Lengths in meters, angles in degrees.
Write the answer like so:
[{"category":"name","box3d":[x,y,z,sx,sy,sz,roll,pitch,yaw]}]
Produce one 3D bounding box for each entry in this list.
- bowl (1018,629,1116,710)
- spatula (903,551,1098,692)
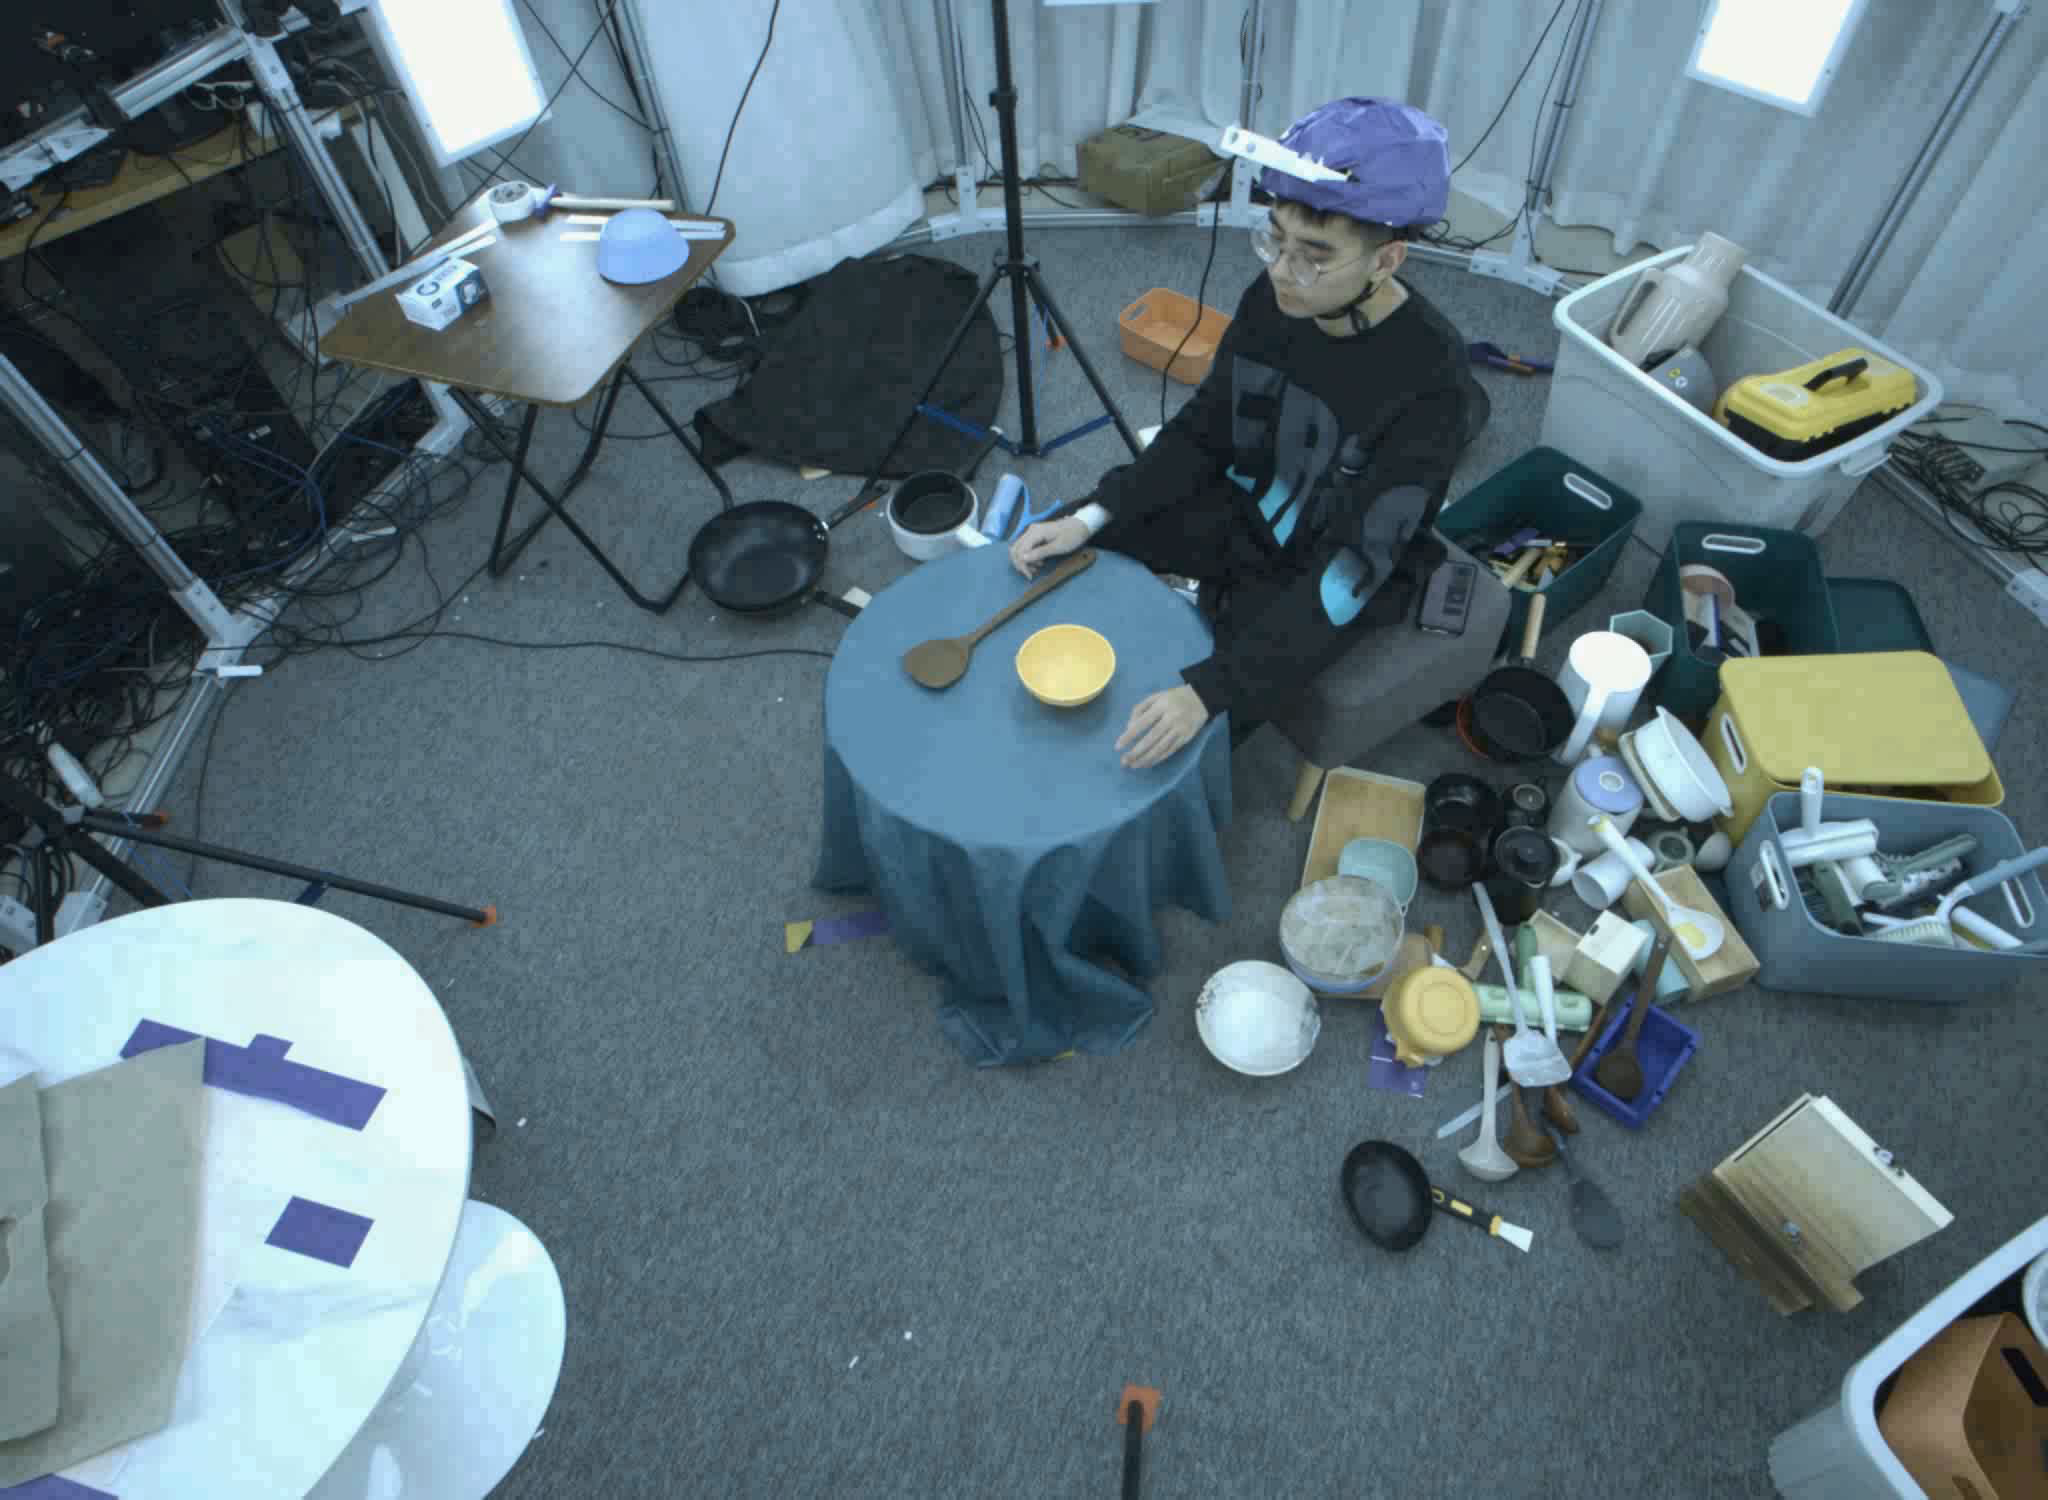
[{"category":"bowl","box3d":[0.064,-0.109,1.838,0.145,0.060,0.144,1,54,0]},{"category":"spatula","box3d":[-0.025,-0.215,1.941,0.389,0.016,0.094,-38,63,-23]}]
